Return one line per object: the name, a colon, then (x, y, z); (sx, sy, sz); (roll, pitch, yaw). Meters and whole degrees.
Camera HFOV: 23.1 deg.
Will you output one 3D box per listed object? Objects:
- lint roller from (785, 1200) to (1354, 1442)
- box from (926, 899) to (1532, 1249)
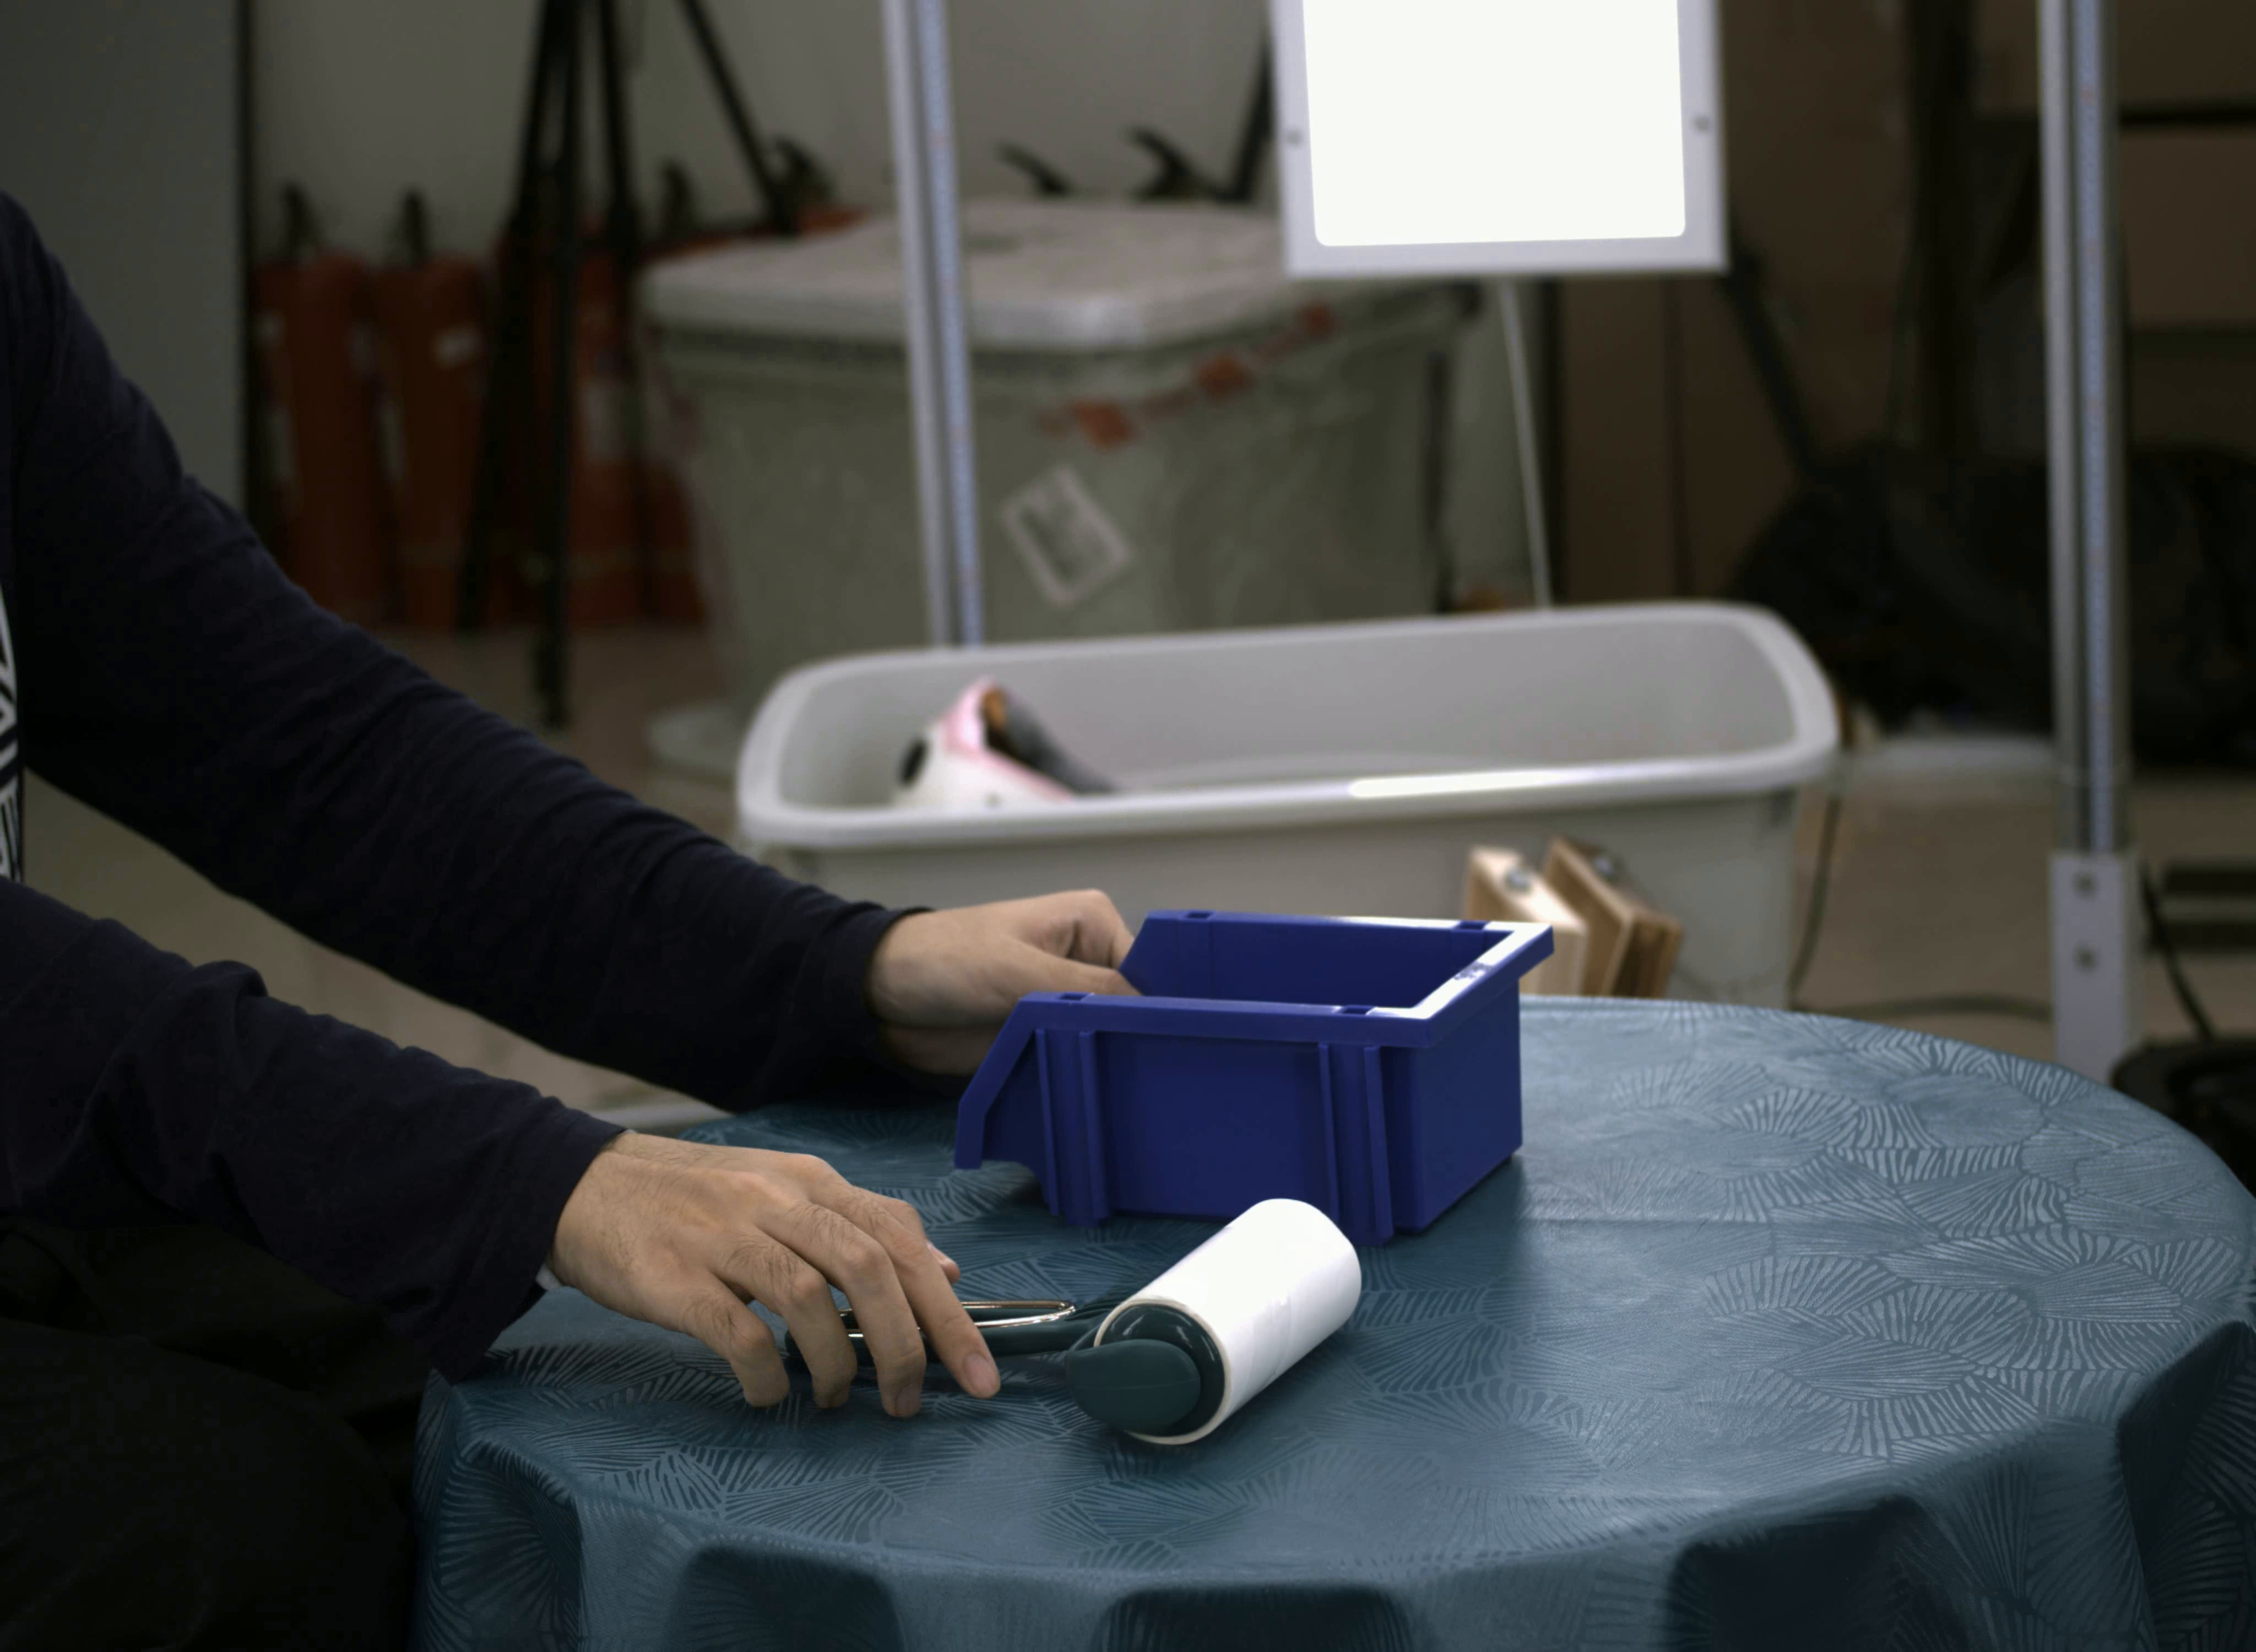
lint roller: (-0.030, 0.153, 1.722); (0.183, 0.048, 0.131); (-1, 13, 27)
box: (0.035, 0.084, 1.895); (0.182, 0.082, 0.122); (5, 18, 27)
